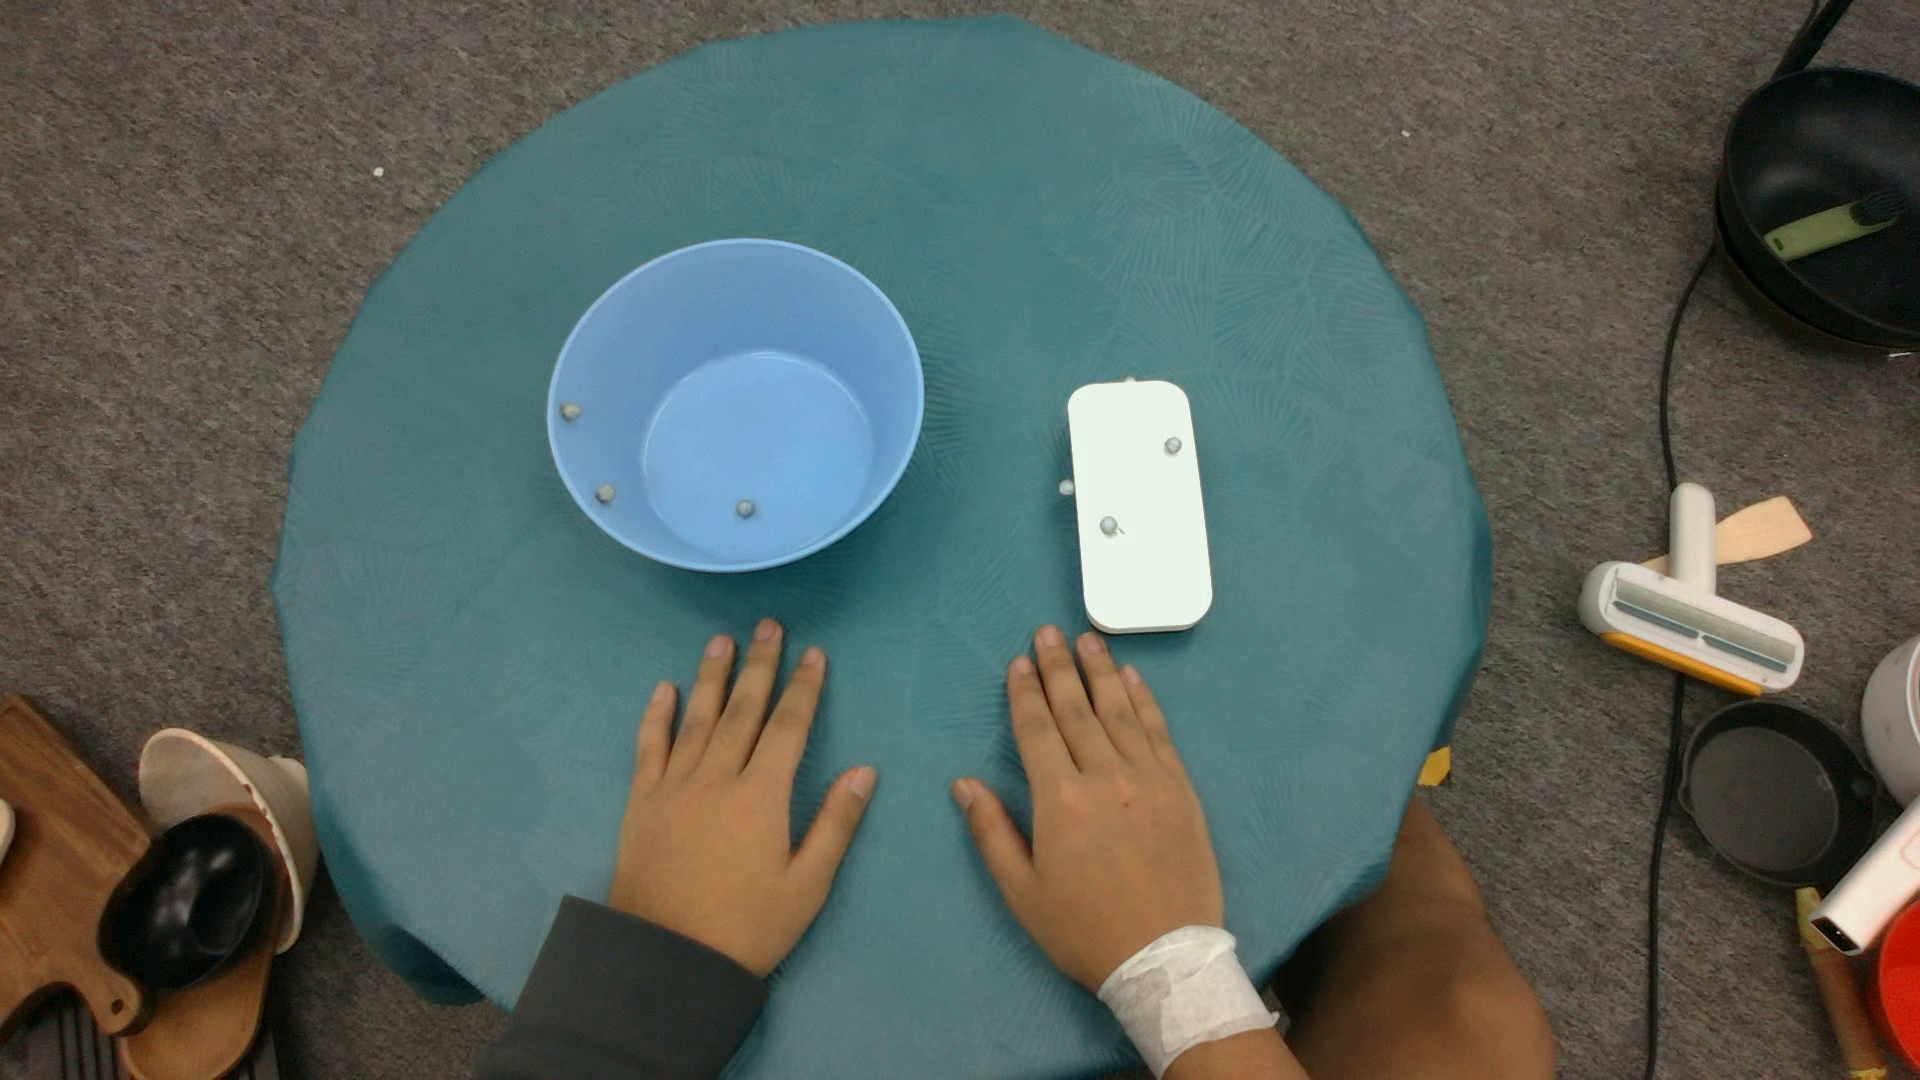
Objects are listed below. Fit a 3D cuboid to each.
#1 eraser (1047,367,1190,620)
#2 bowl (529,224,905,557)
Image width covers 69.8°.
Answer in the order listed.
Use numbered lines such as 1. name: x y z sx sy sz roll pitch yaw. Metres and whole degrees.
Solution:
1. eraser: 0.075 -0.025 0.677 0.063 0.034 0.132 -2 65 1
2. bowl: -0.113 -0.062 0.672 0.176 0.070 0.176 0 67 1
